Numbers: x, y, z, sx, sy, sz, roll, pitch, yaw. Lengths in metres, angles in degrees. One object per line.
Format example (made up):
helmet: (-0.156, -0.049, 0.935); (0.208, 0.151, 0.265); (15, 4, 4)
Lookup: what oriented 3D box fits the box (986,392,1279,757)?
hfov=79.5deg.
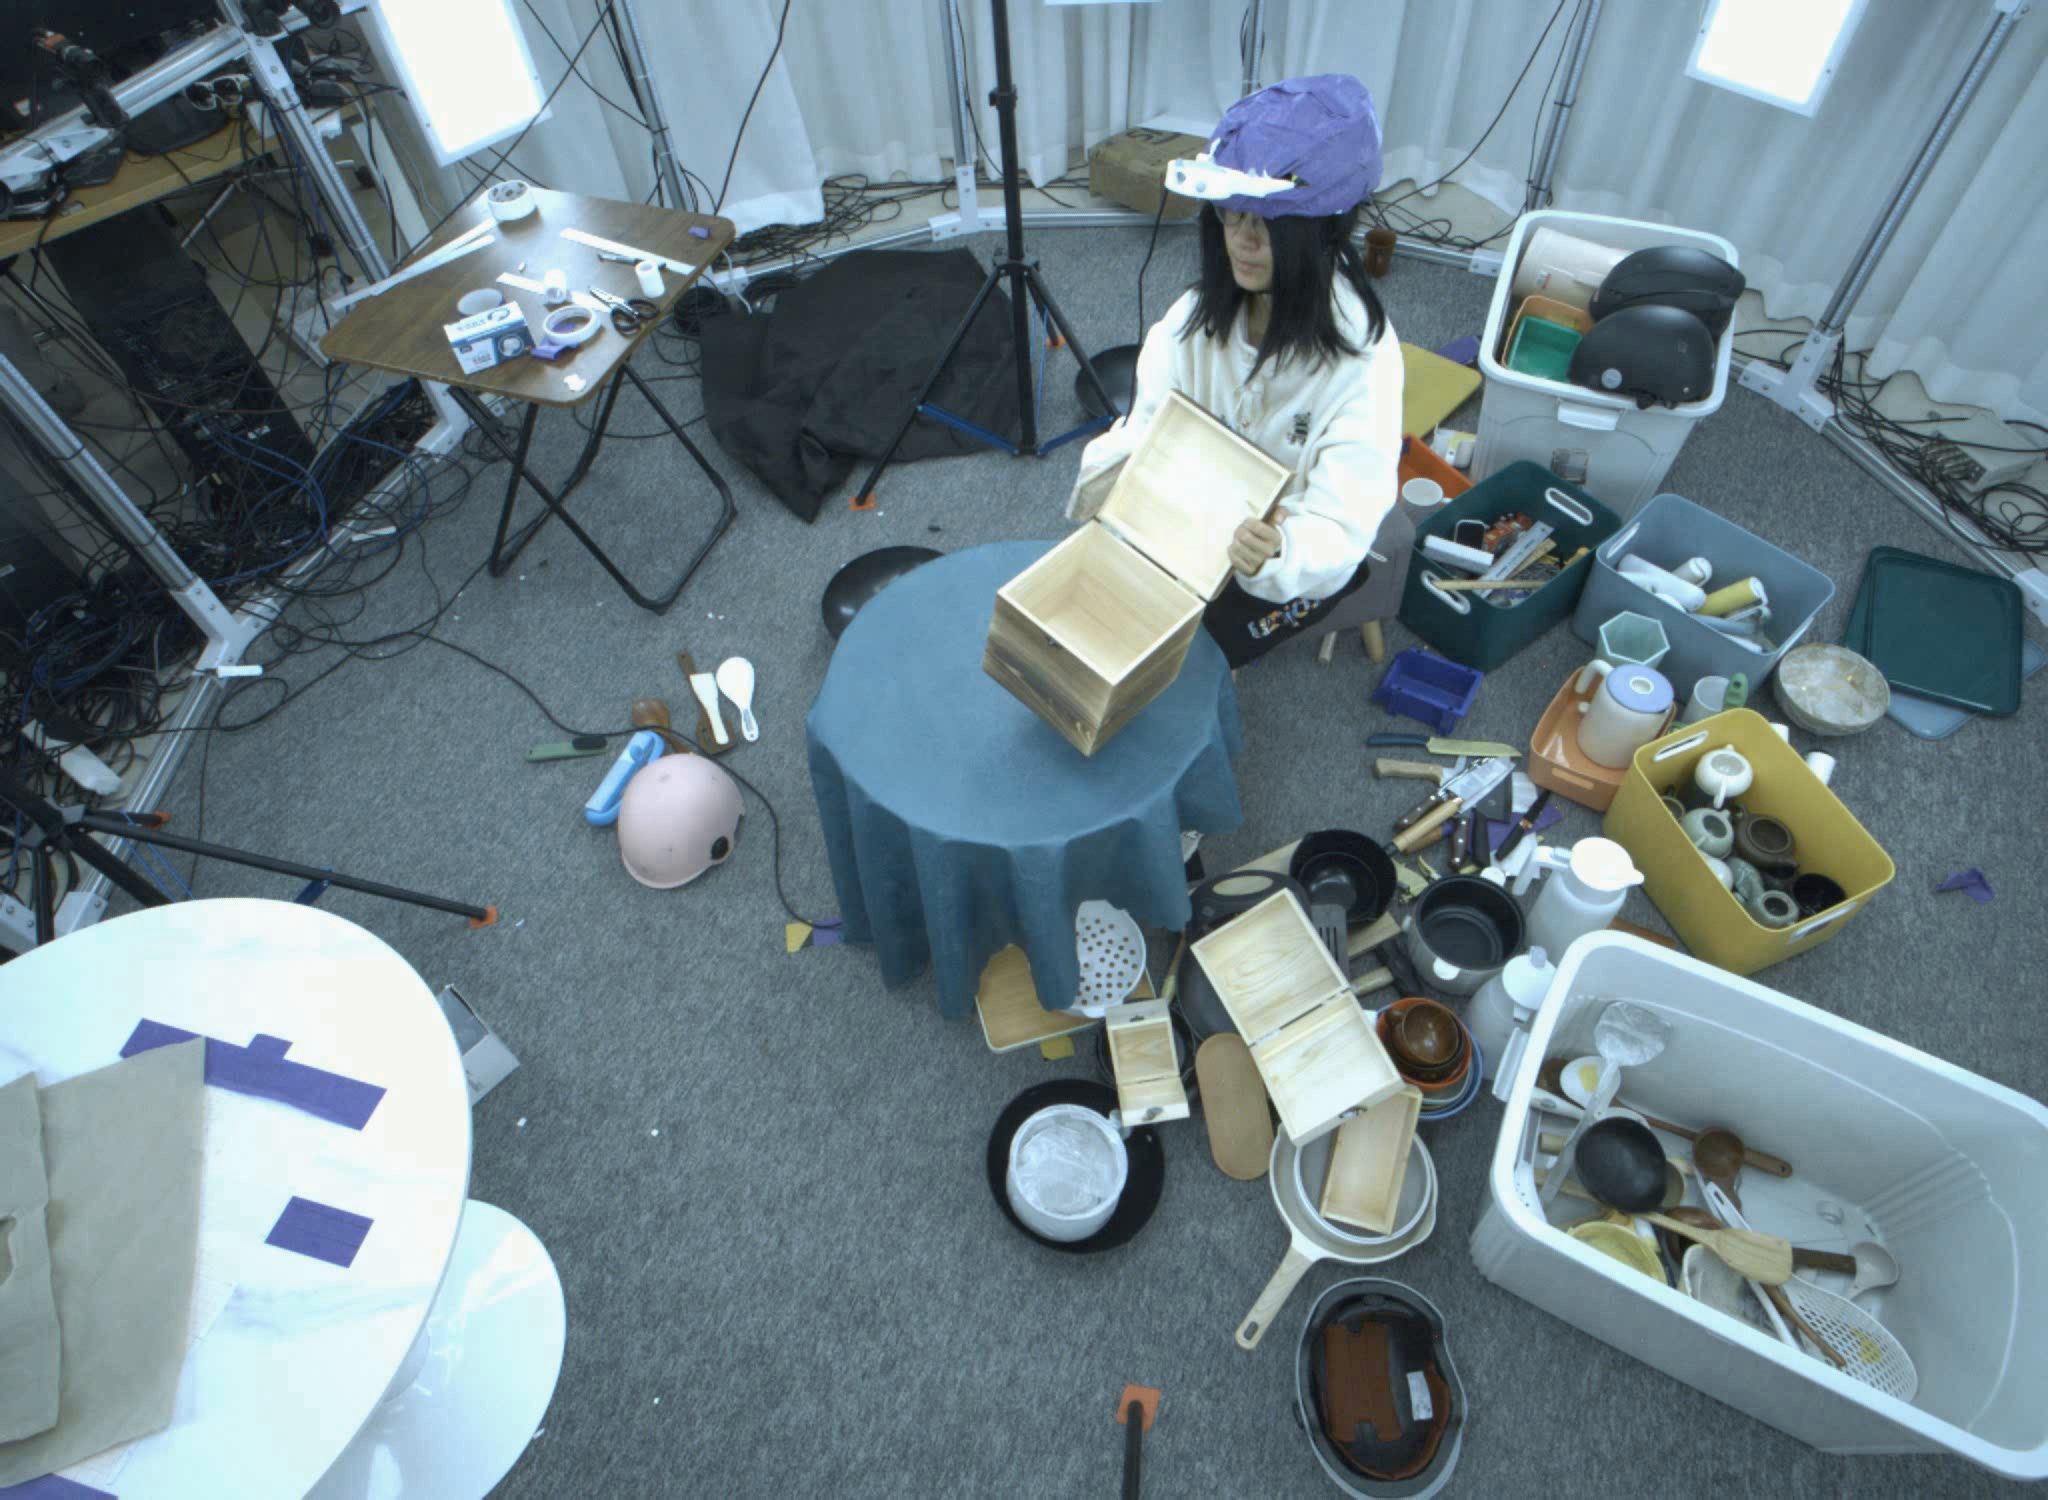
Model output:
box: (0.134, -0.236, 1.623); (0.206, 0.377, 0.324); (38, 60, 15)

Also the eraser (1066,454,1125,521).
eraser: (0.113, -0.364, 1.680); (0.028, 0.057, 0.140); (39, 51, 16)
